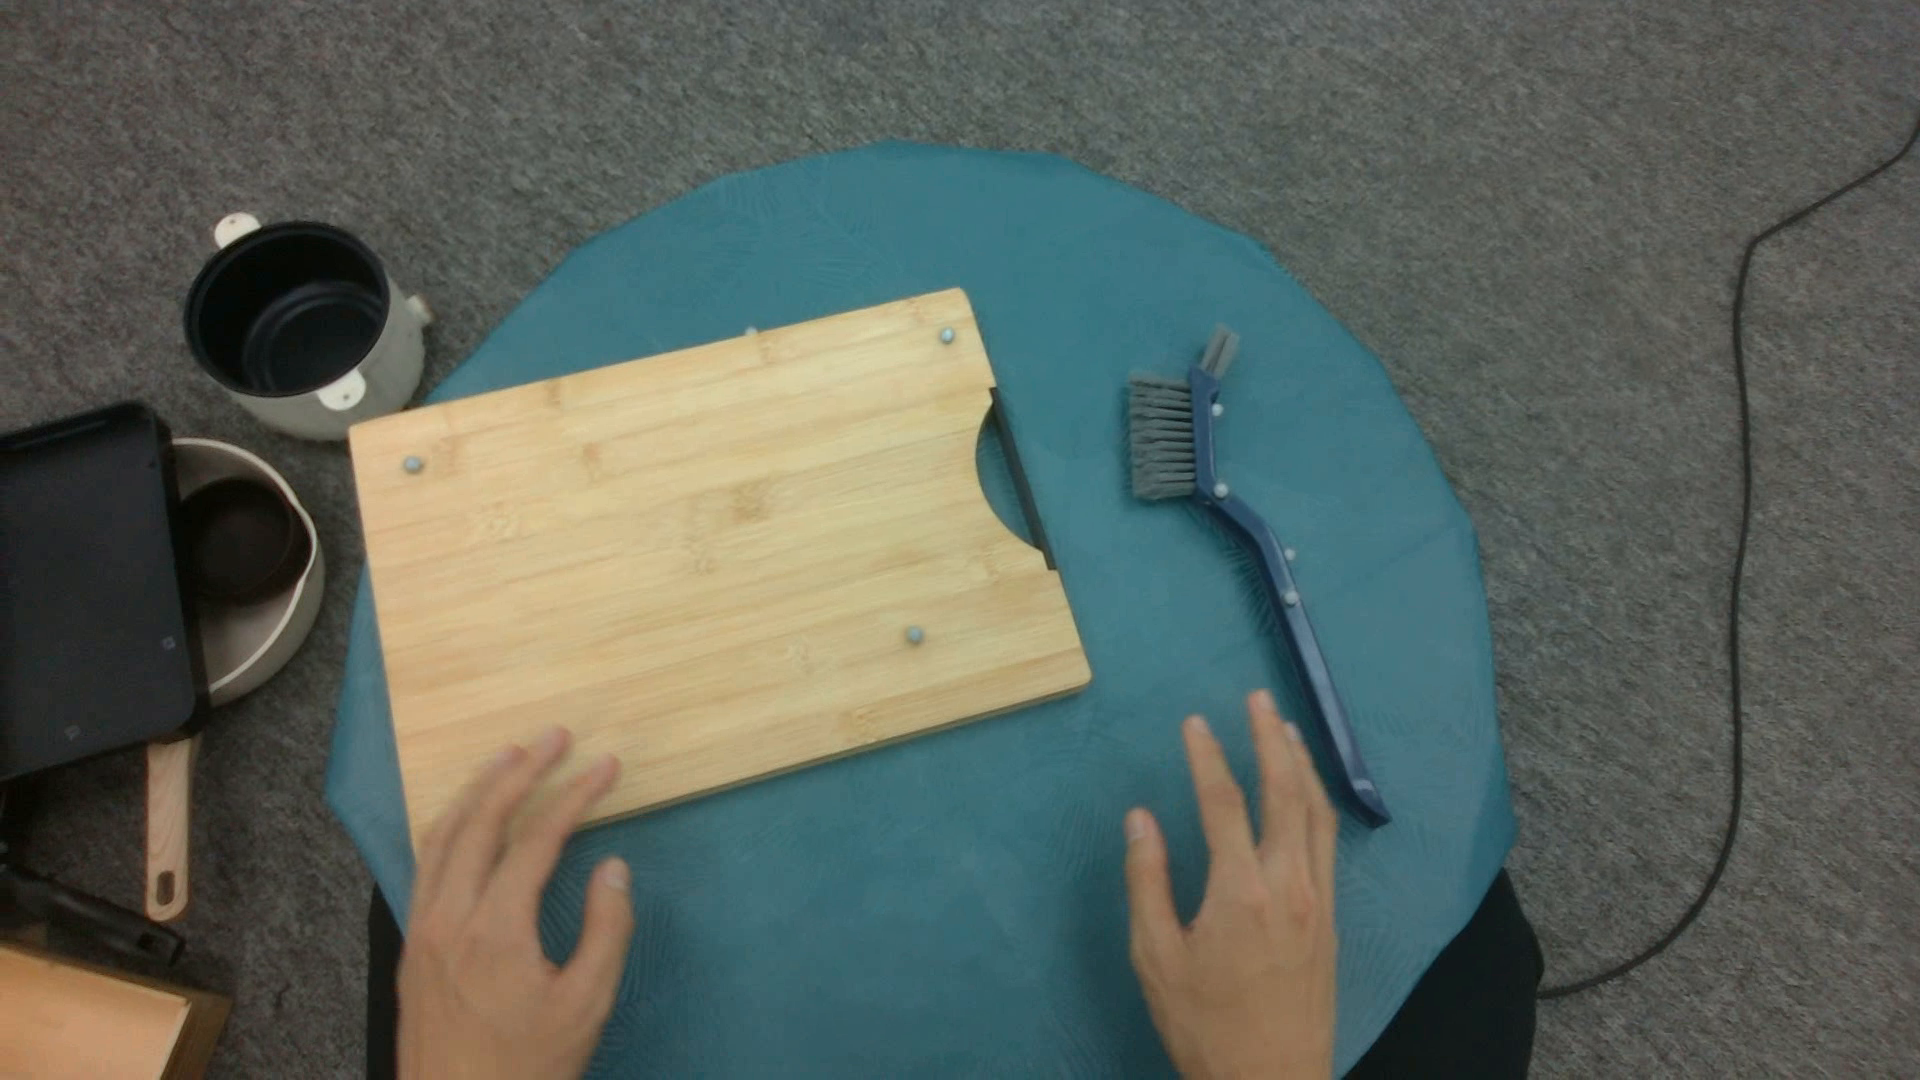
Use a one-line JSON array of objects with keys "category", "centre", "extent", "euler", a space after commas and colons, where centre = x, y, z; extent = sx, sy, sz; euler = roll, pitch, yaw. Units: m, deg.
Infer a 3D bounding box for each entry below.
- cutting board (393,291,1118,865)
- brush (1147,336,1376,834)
[{"category": "cutting board", "centre": [-0.117, 0.010, 0.740], "extent": [0.349, 0.023, 0.251], "euler": [-15, 72, -7]}, {"category": "brush", "centre": [0.176, 0.018, 0.738], "extent": [0.096, 0.033, 0.273], "euler": [-21, 71, -9]}]
